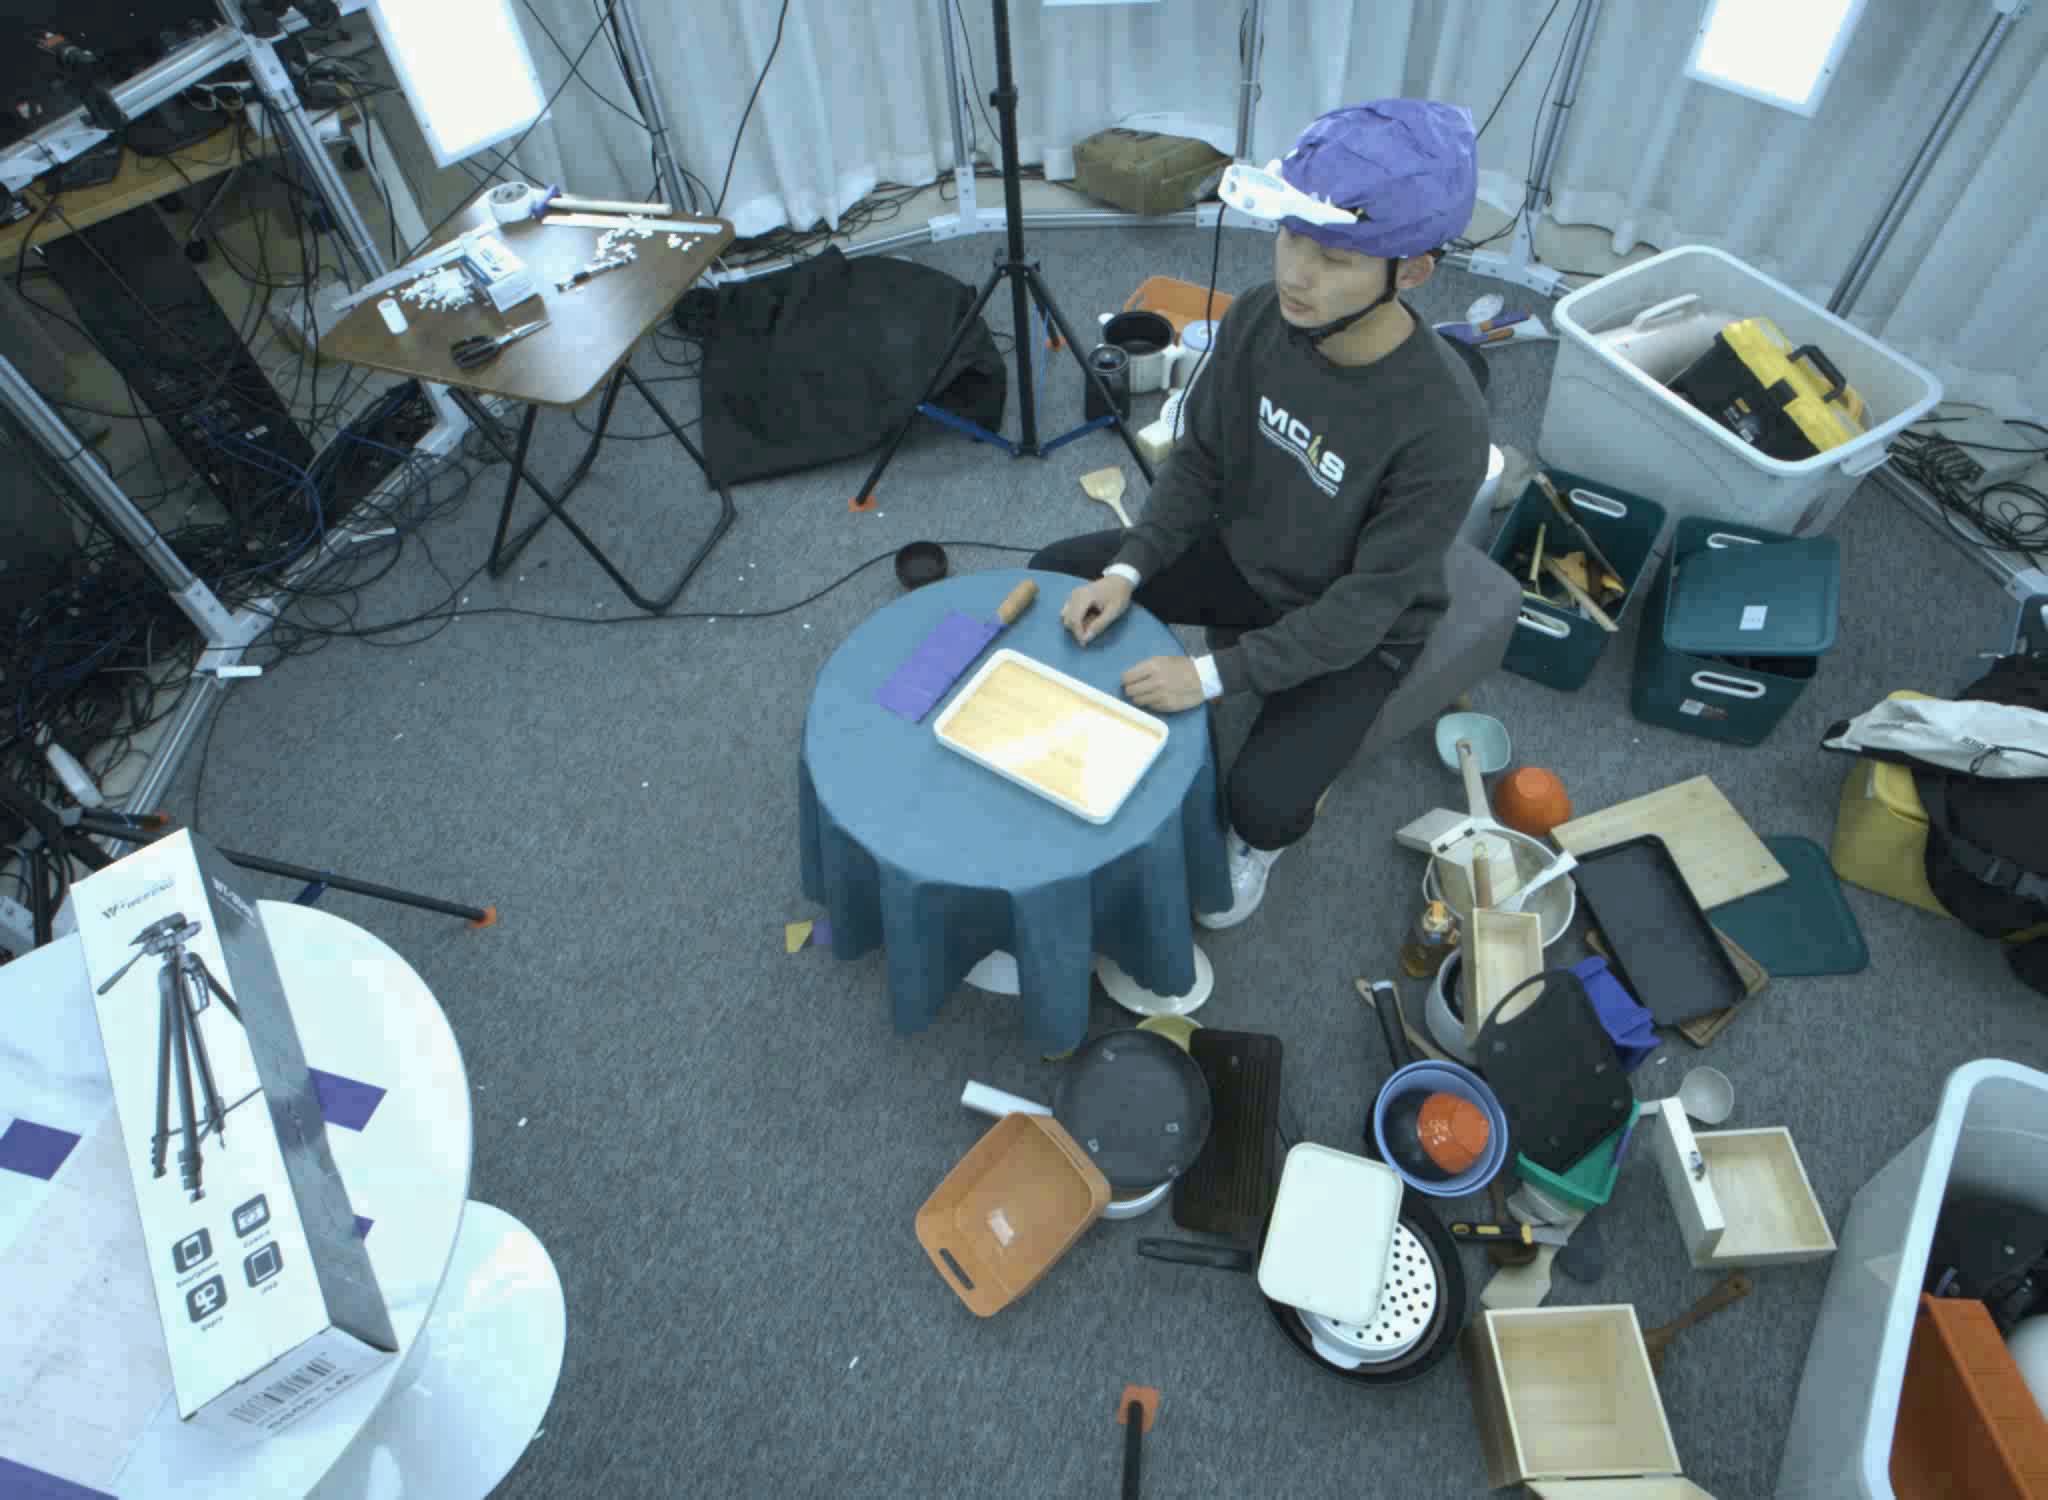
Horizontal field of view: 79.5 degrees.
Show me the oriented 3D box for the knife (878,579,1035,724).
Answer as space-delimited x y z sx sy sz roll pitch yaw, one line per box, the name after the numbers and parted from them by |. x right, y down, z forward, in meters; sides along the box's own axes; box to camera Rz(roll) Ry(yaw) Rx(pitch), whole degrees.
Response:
-0.106 -0.169 1.901 0.102 0.032 0.316 28 60 19 | knife

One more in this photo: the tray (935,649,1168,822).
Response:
0.039 -0.026 1.796 0.296 0.028 0.192 27 59 19 | tray
